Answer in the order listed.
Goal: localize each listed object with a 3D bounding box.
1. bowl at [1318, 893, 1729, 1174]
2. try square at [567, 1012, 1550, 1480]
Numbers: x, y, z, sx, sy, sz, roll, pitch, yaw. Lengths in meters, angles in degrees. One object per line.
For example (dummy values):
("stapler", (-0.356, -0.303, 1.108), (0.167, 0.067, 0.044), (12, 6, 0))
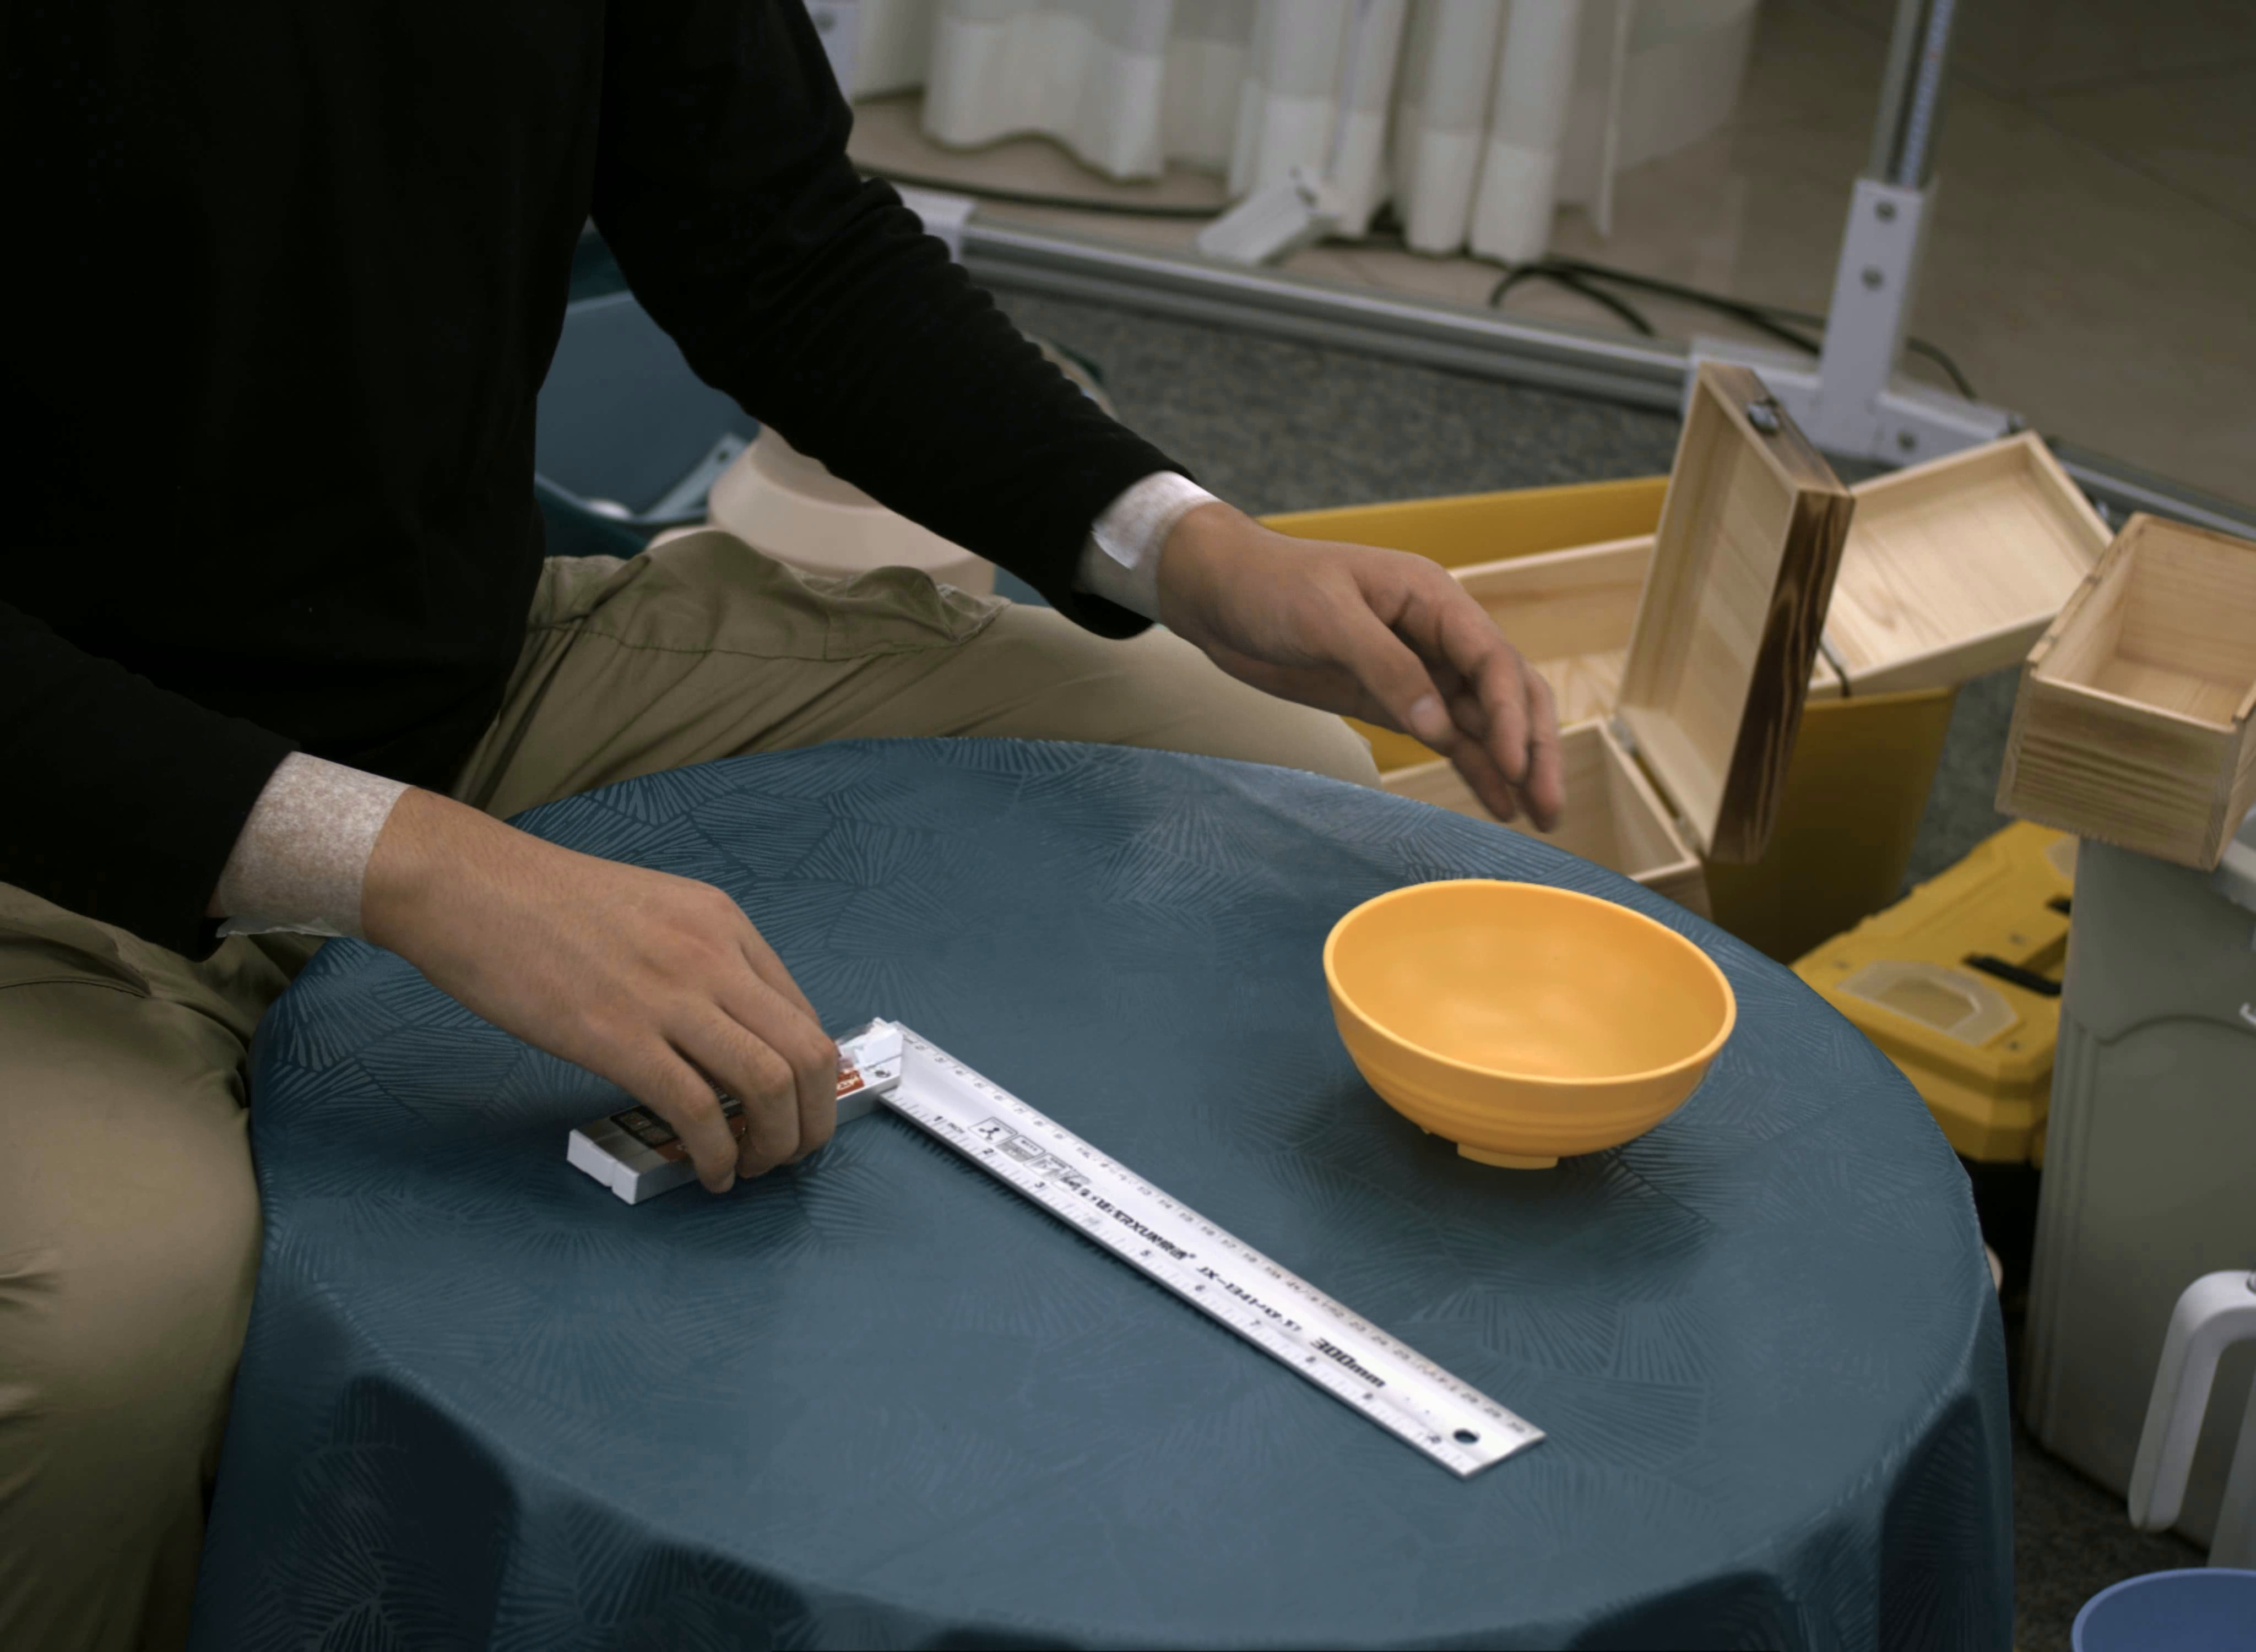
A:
("bowl", (0.134, 0.080, 1.857), (0.145, 0.060, 0.146), (6, 24, -3))
("try square", (-0.027, 0.152, 1.738), (0.151, 0.016, 0.315), (-23, 40, -39))
